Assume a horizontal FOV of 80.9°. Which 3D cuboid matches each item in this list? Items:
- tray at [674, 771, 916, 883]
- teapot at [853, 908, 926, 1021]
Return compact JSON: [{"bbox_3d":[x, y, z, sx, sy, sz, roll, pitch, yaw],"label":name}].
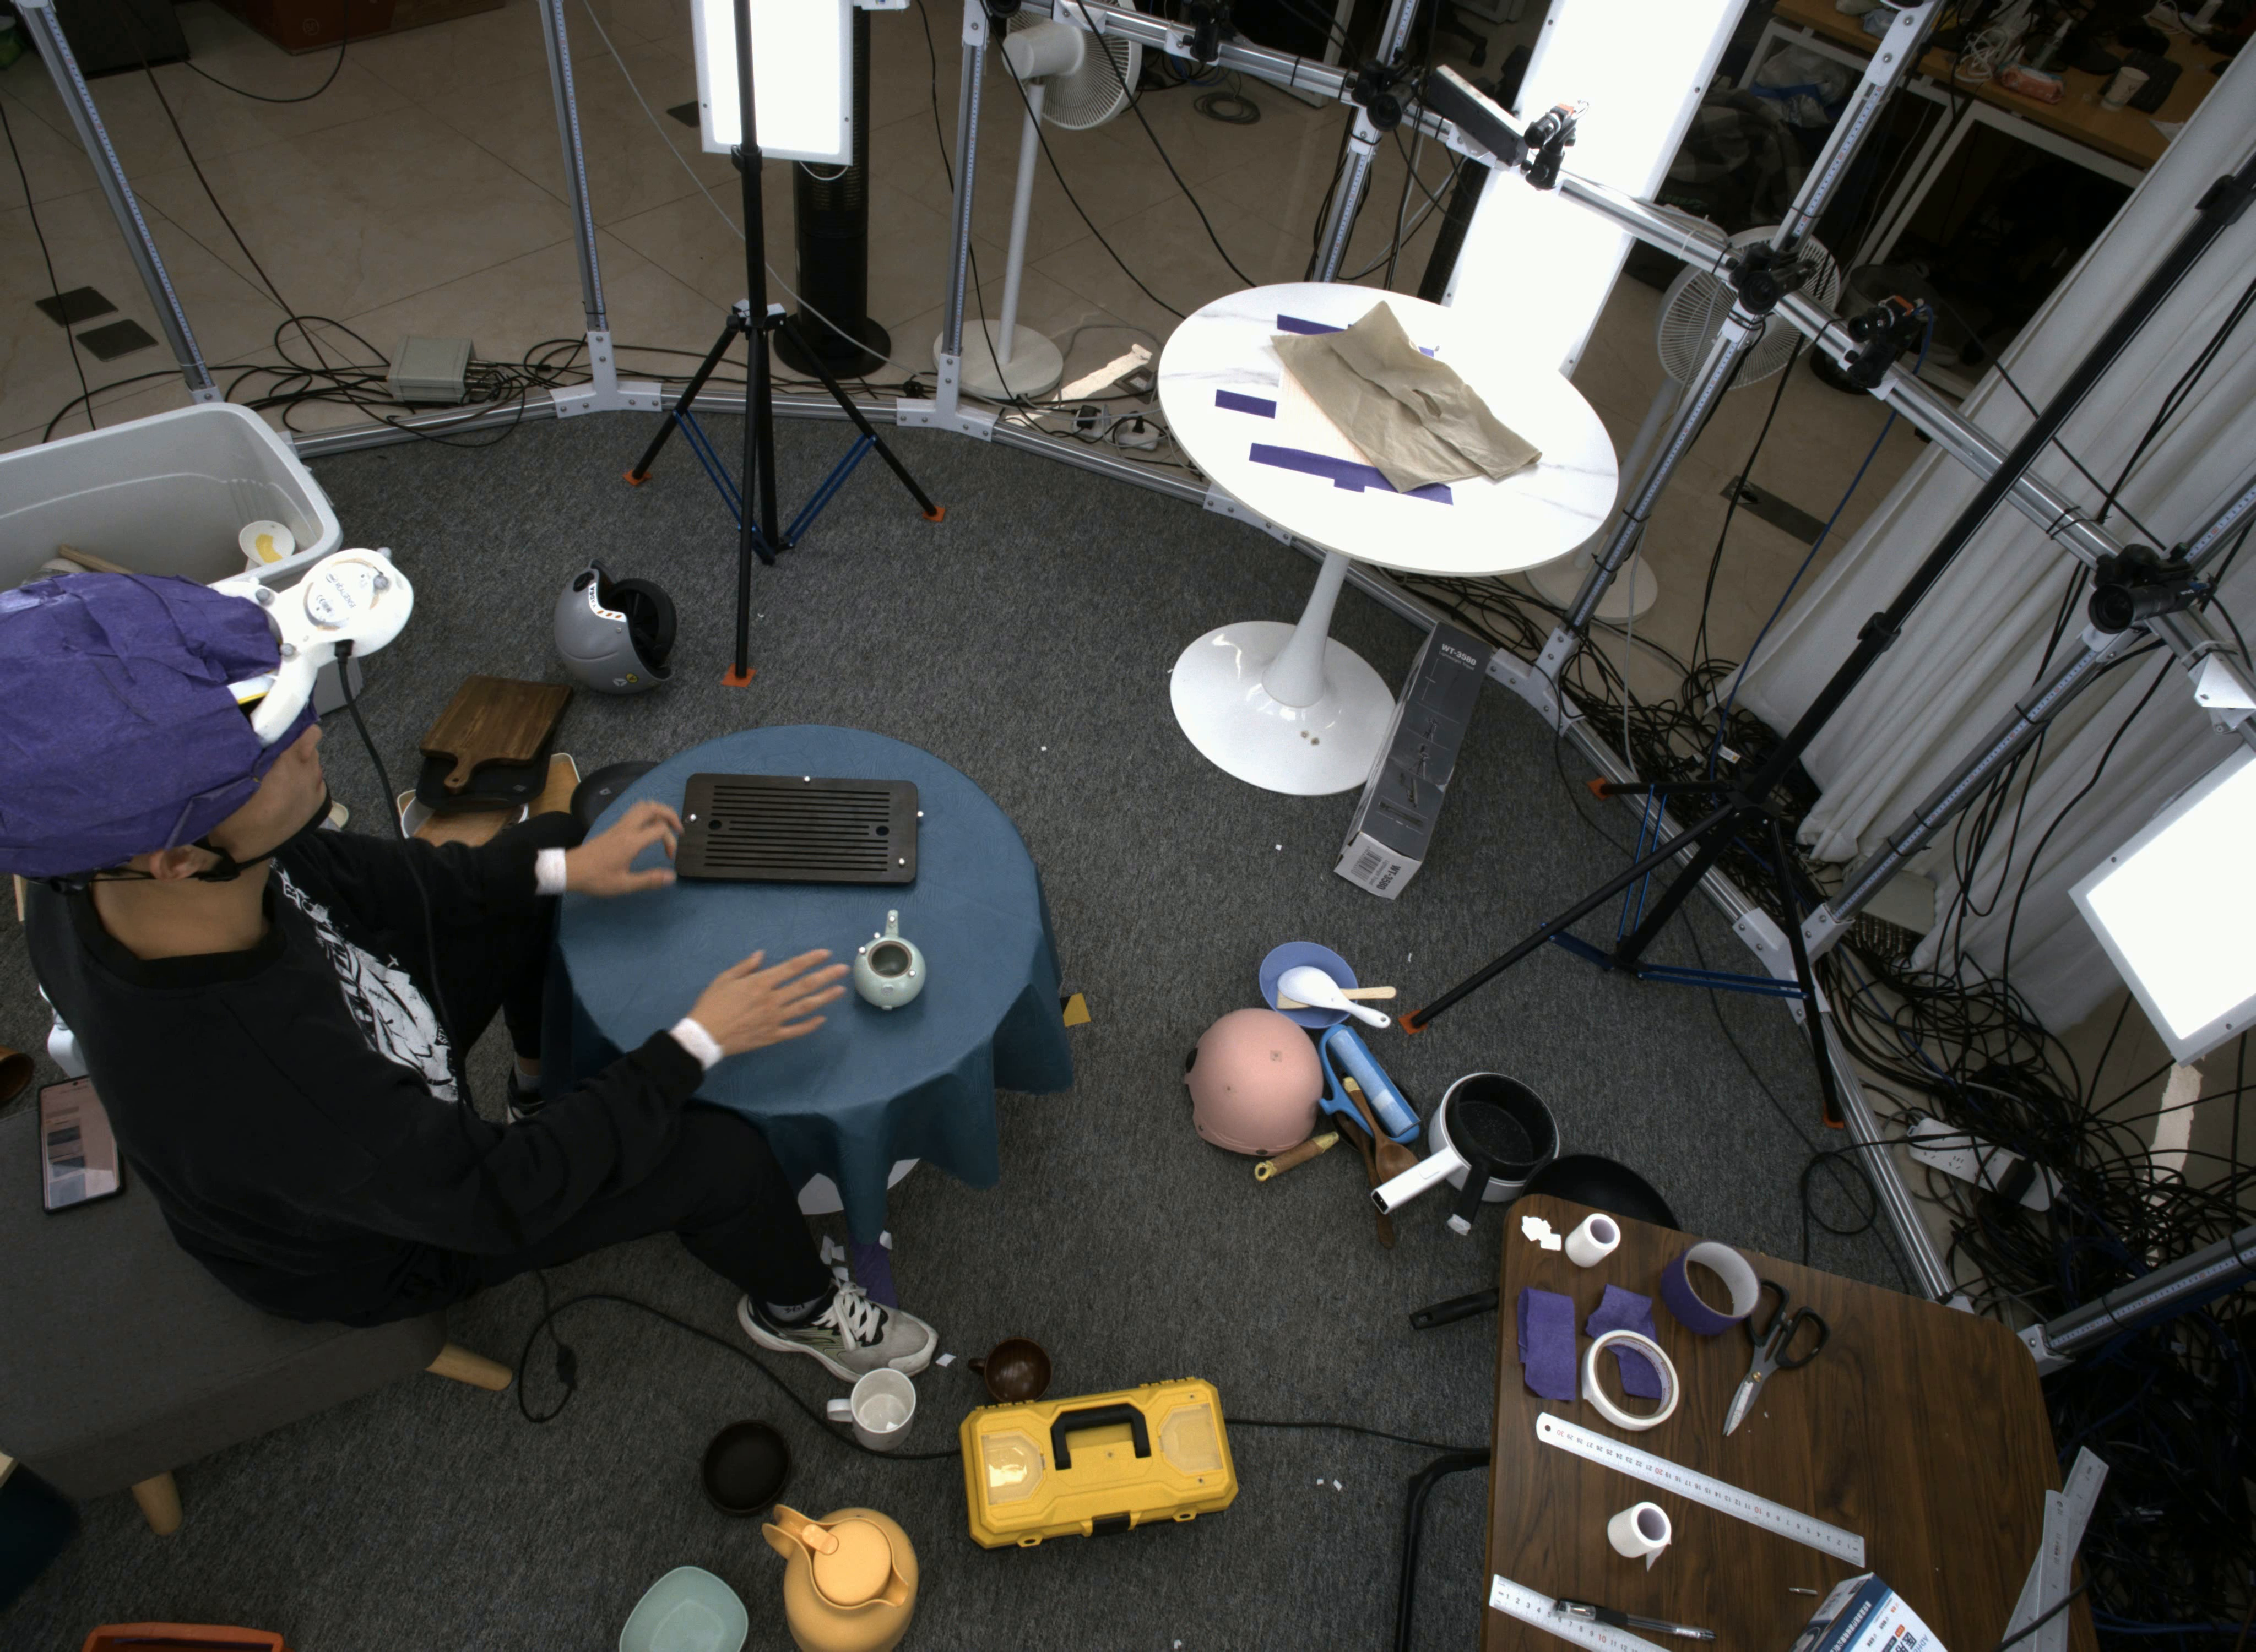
[{"bbox_3d":[-0.433,0.001,1.707,0.306,0.019,0.166,2,54,-13],"label":"tray"},{"bbox_3d":[-0.290,0.175,1.578,0.088,0.076,0.141,5,51,-10],"label":"teapot"}]
